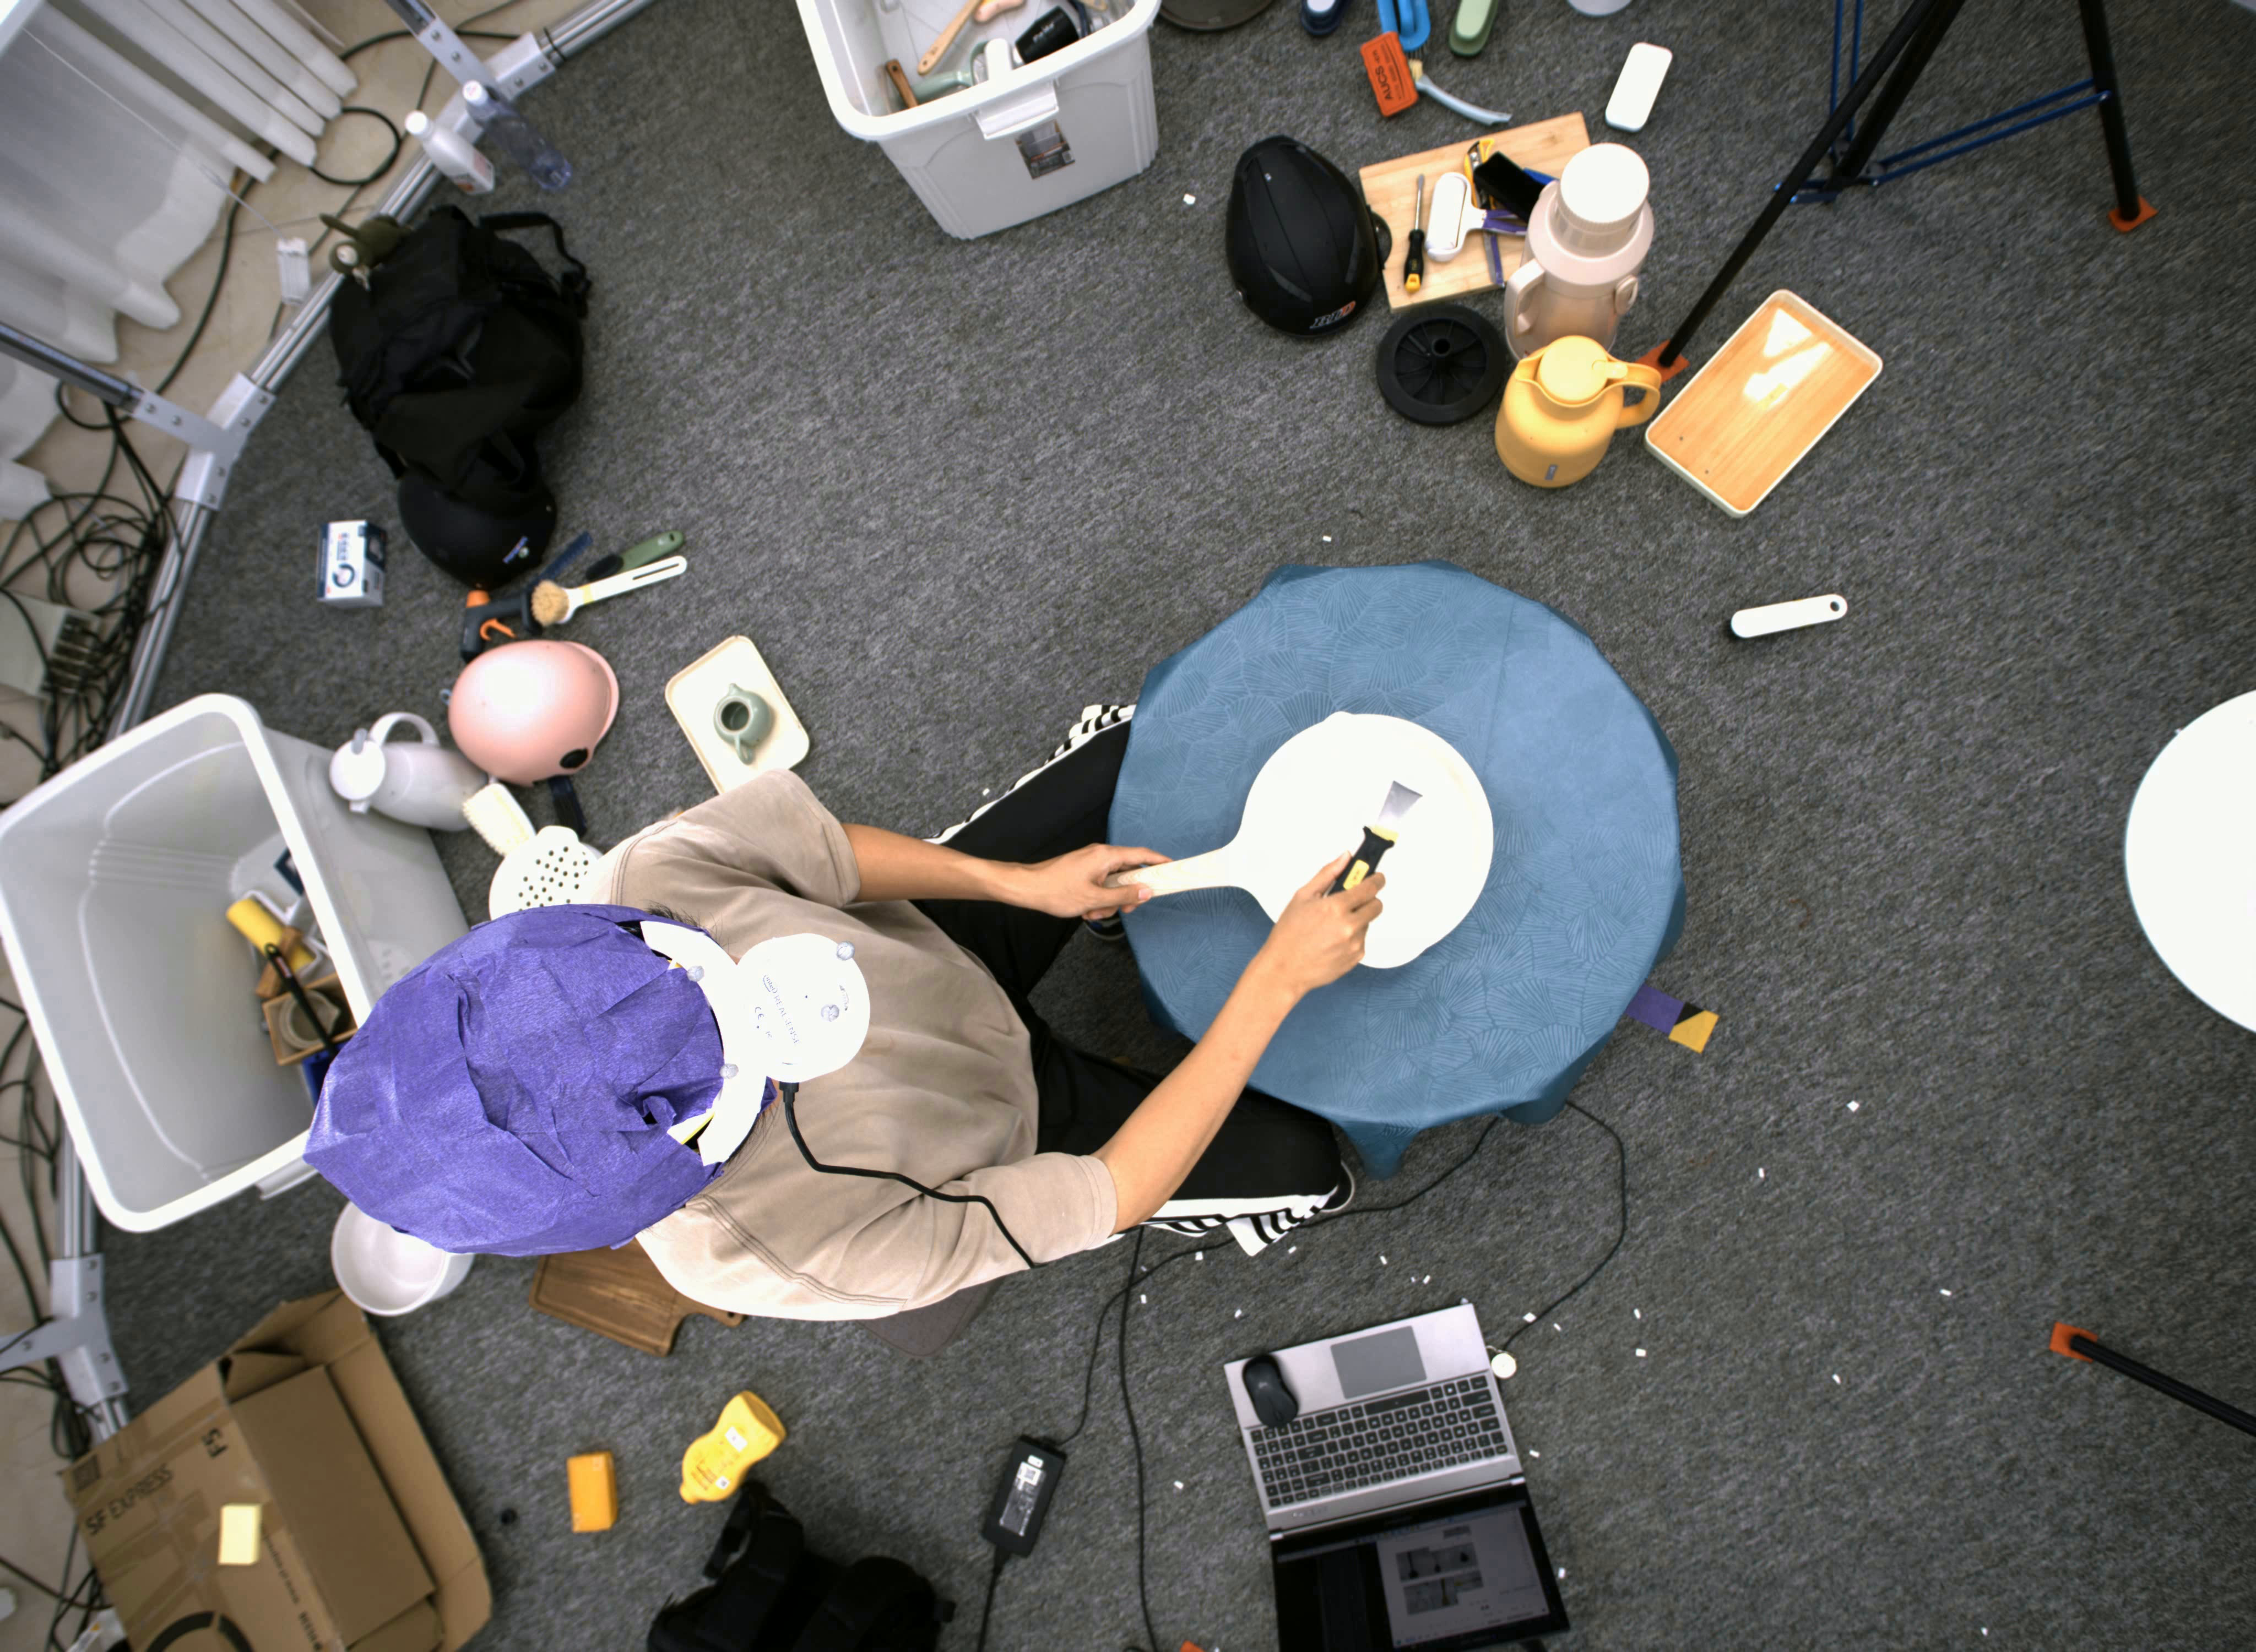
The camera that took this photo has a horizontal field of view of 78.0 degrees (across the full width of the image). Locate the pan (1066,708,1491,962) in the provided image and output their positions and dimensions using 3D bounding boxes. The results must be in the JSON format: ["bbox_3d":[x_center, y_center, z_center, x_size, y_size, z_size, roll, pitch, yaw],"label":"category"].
[{"bbox_3d":[0.154,0.029,1.438,0.437,0.102,0.262,-13,86,10],"label":"pan"}]

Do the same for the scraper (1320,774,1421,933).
[{"bbox_3d":[0.230,0.027,1.321,0.039,0.015,0.168,29,75,5],"label":"scraper"}]
